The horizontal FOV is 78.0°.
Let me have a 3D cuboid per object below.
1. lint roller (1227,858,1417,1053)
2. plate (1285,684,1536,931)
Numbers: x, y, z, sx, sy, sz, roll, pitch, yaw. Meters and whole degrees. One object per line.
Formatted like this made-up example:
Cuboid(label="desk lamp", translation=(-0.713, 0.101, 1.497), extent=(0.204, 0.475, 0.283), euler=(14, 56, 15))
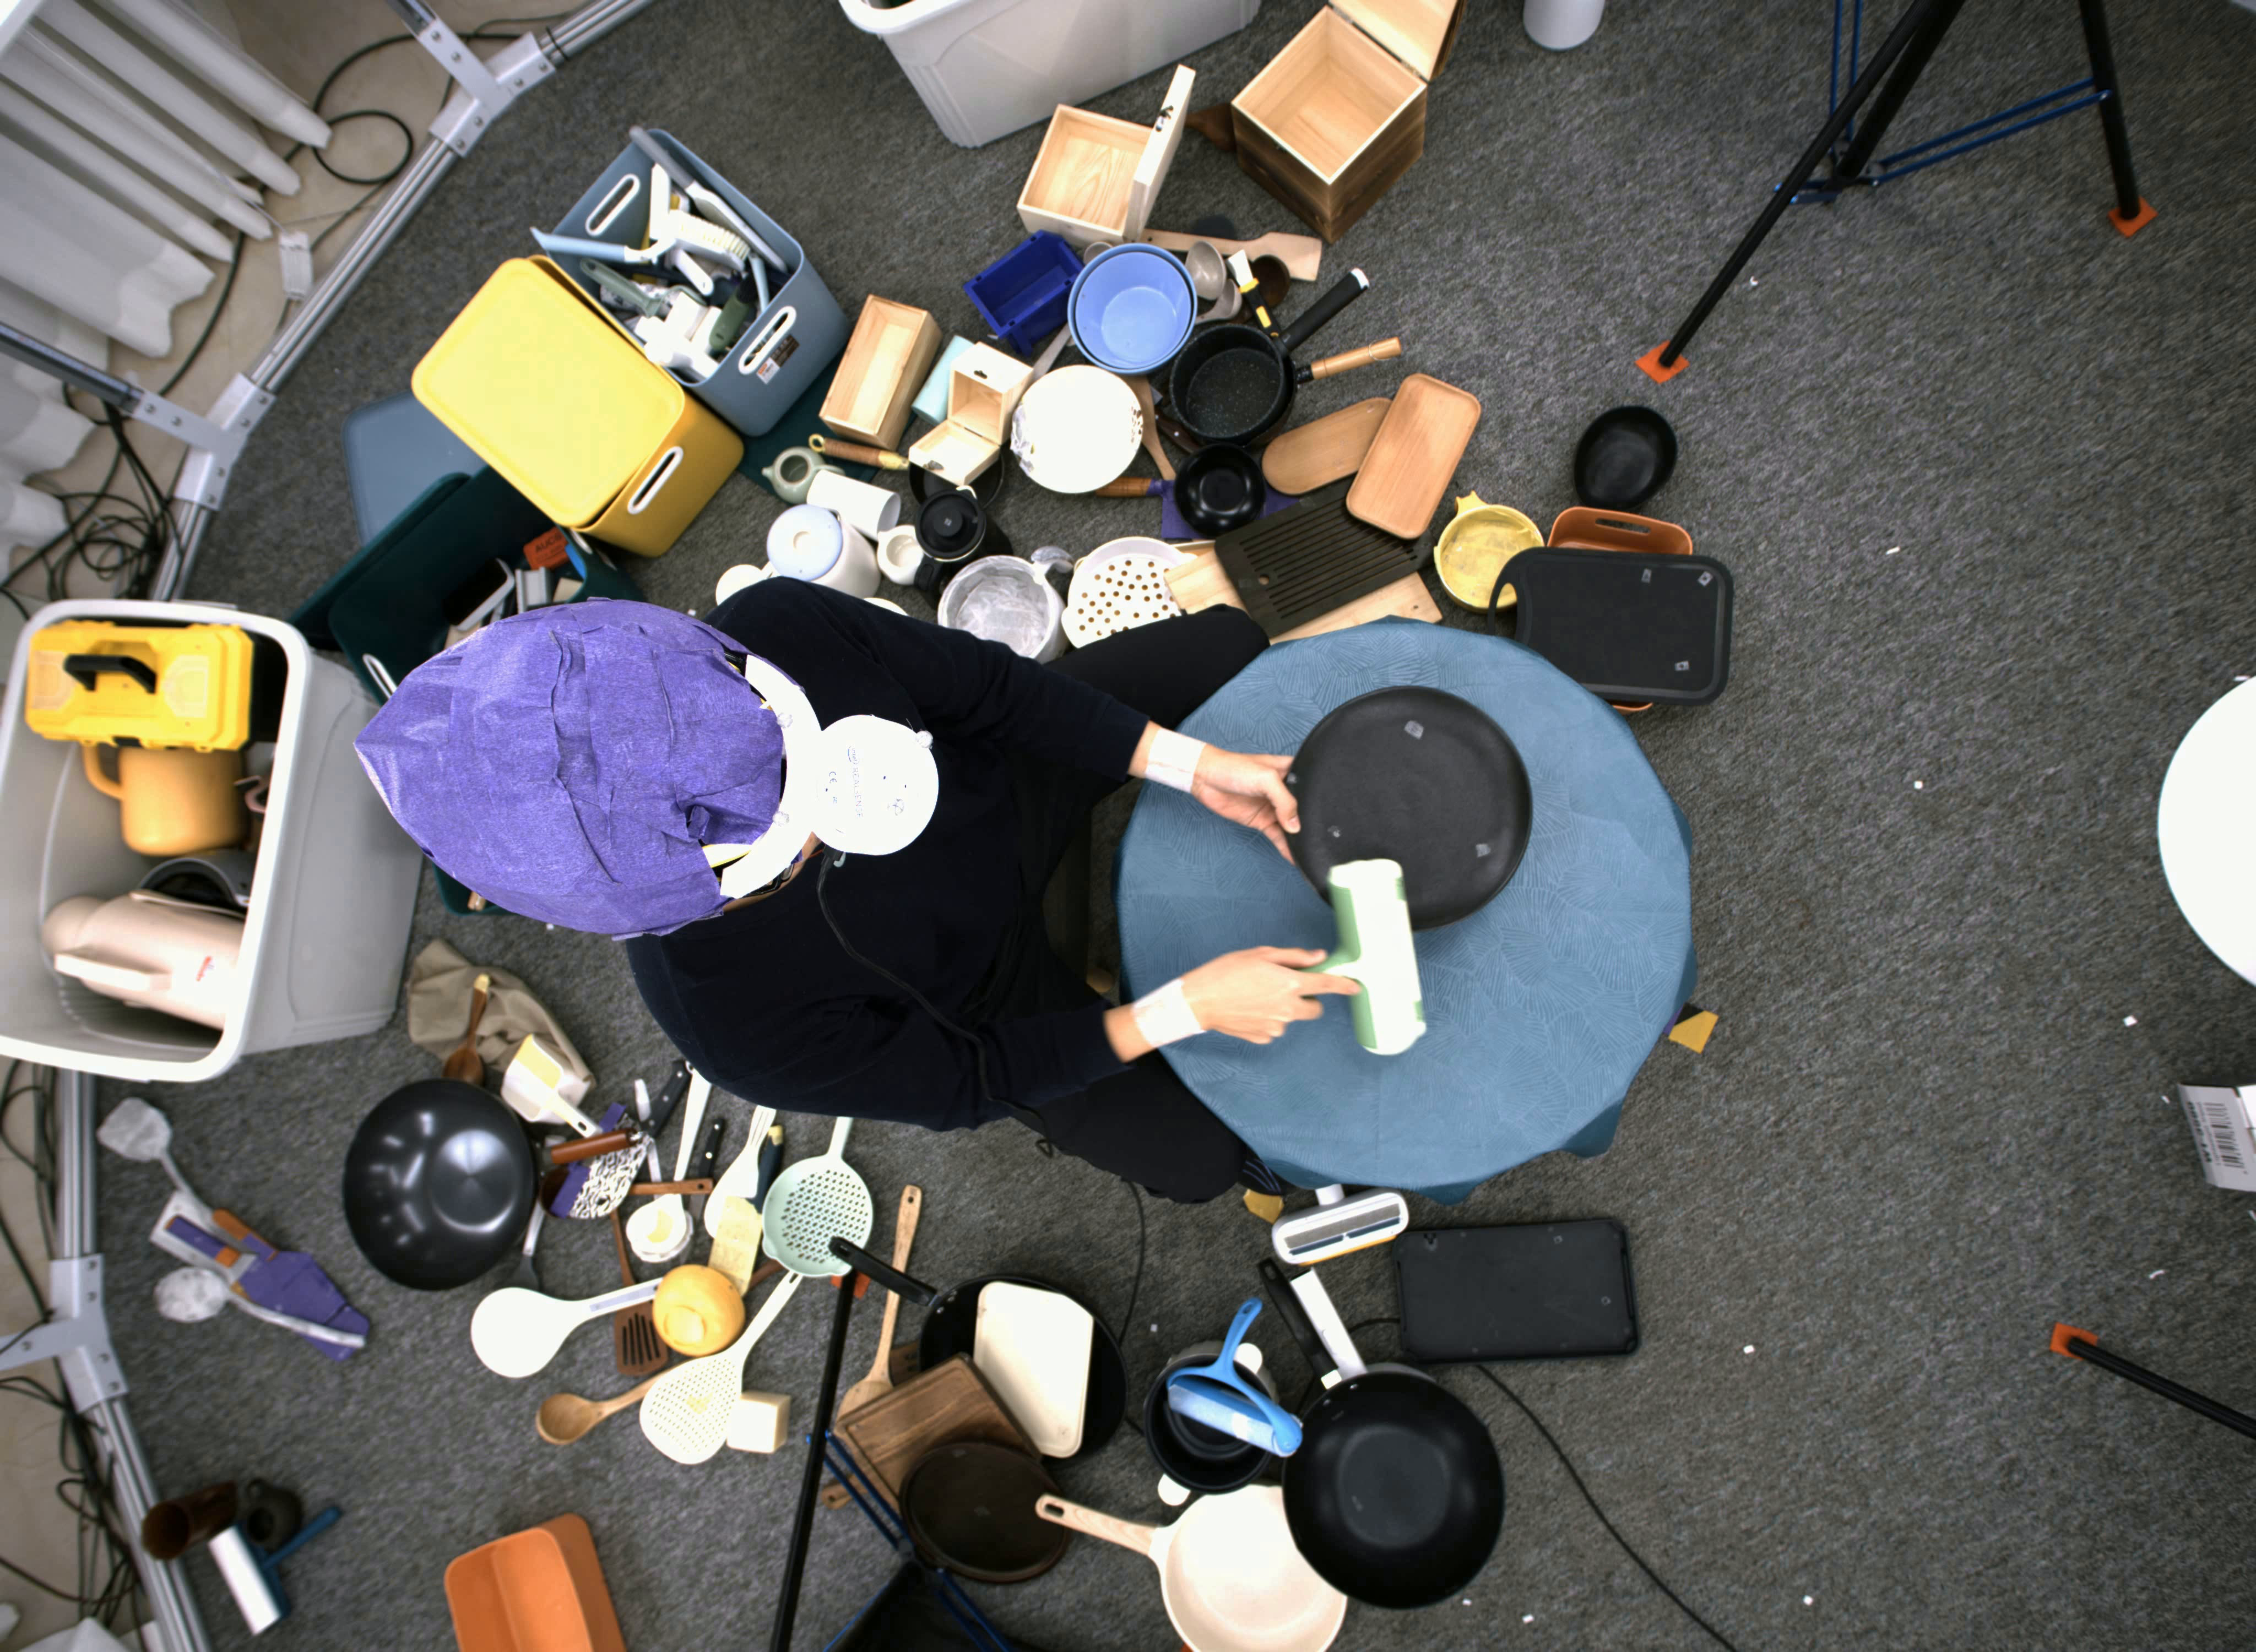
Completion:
Cuboid(label="lint roller", translation=(0.188, 0.148, 1.322), extent=(0.181, 0.081, 0.202), euler=(-23, 115, -19))
Cuboid(label="plate", translation=(0.277, -0.020, 1.359), extent=(0.245, 0.023, 0.244), euler=(0, 89, 11))
